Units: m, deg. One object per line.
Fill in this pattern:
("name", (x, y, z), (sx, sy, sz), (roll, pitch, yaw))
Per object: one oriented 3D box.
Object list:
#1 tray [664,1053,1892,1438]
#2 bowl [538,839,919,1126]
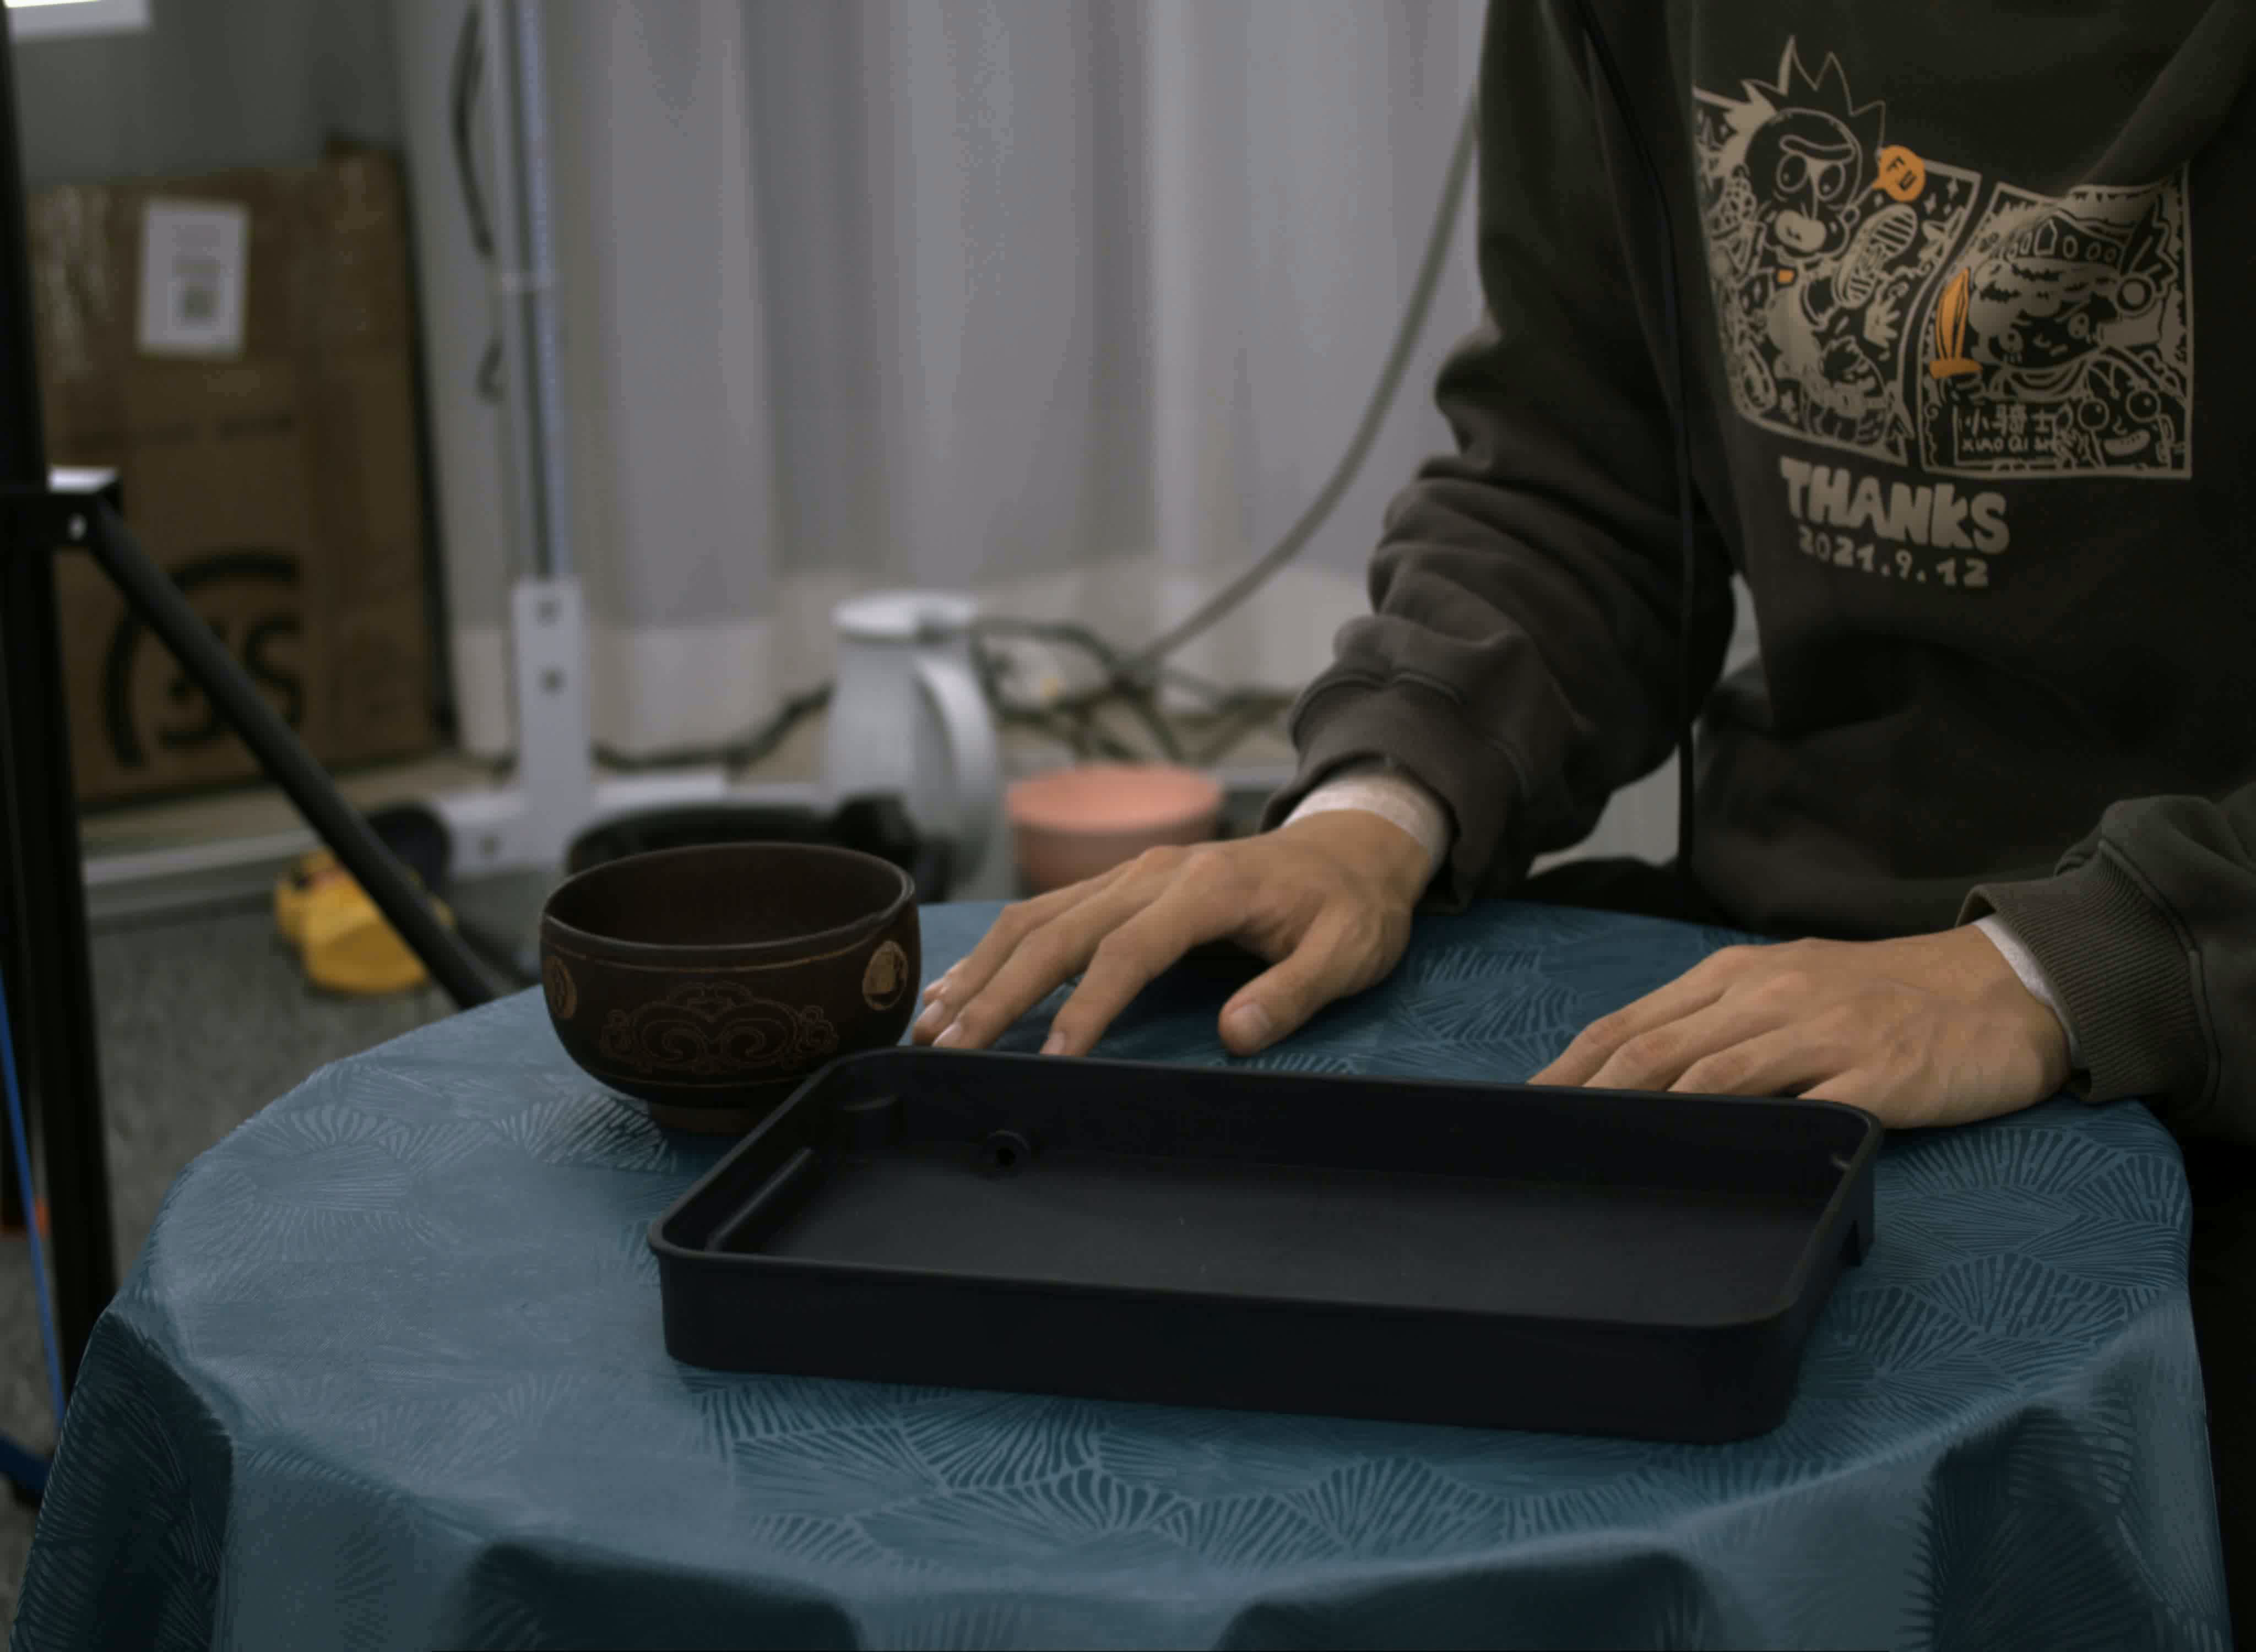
("tray", (0.045, 0.113, 1.472), (0.321, 0.037, 0.182), (2, 16, 17))
("bowl", (-0.123, 0.052, 1.651), (0.117, 0.070, 0.118), (-2, 14, -1))
